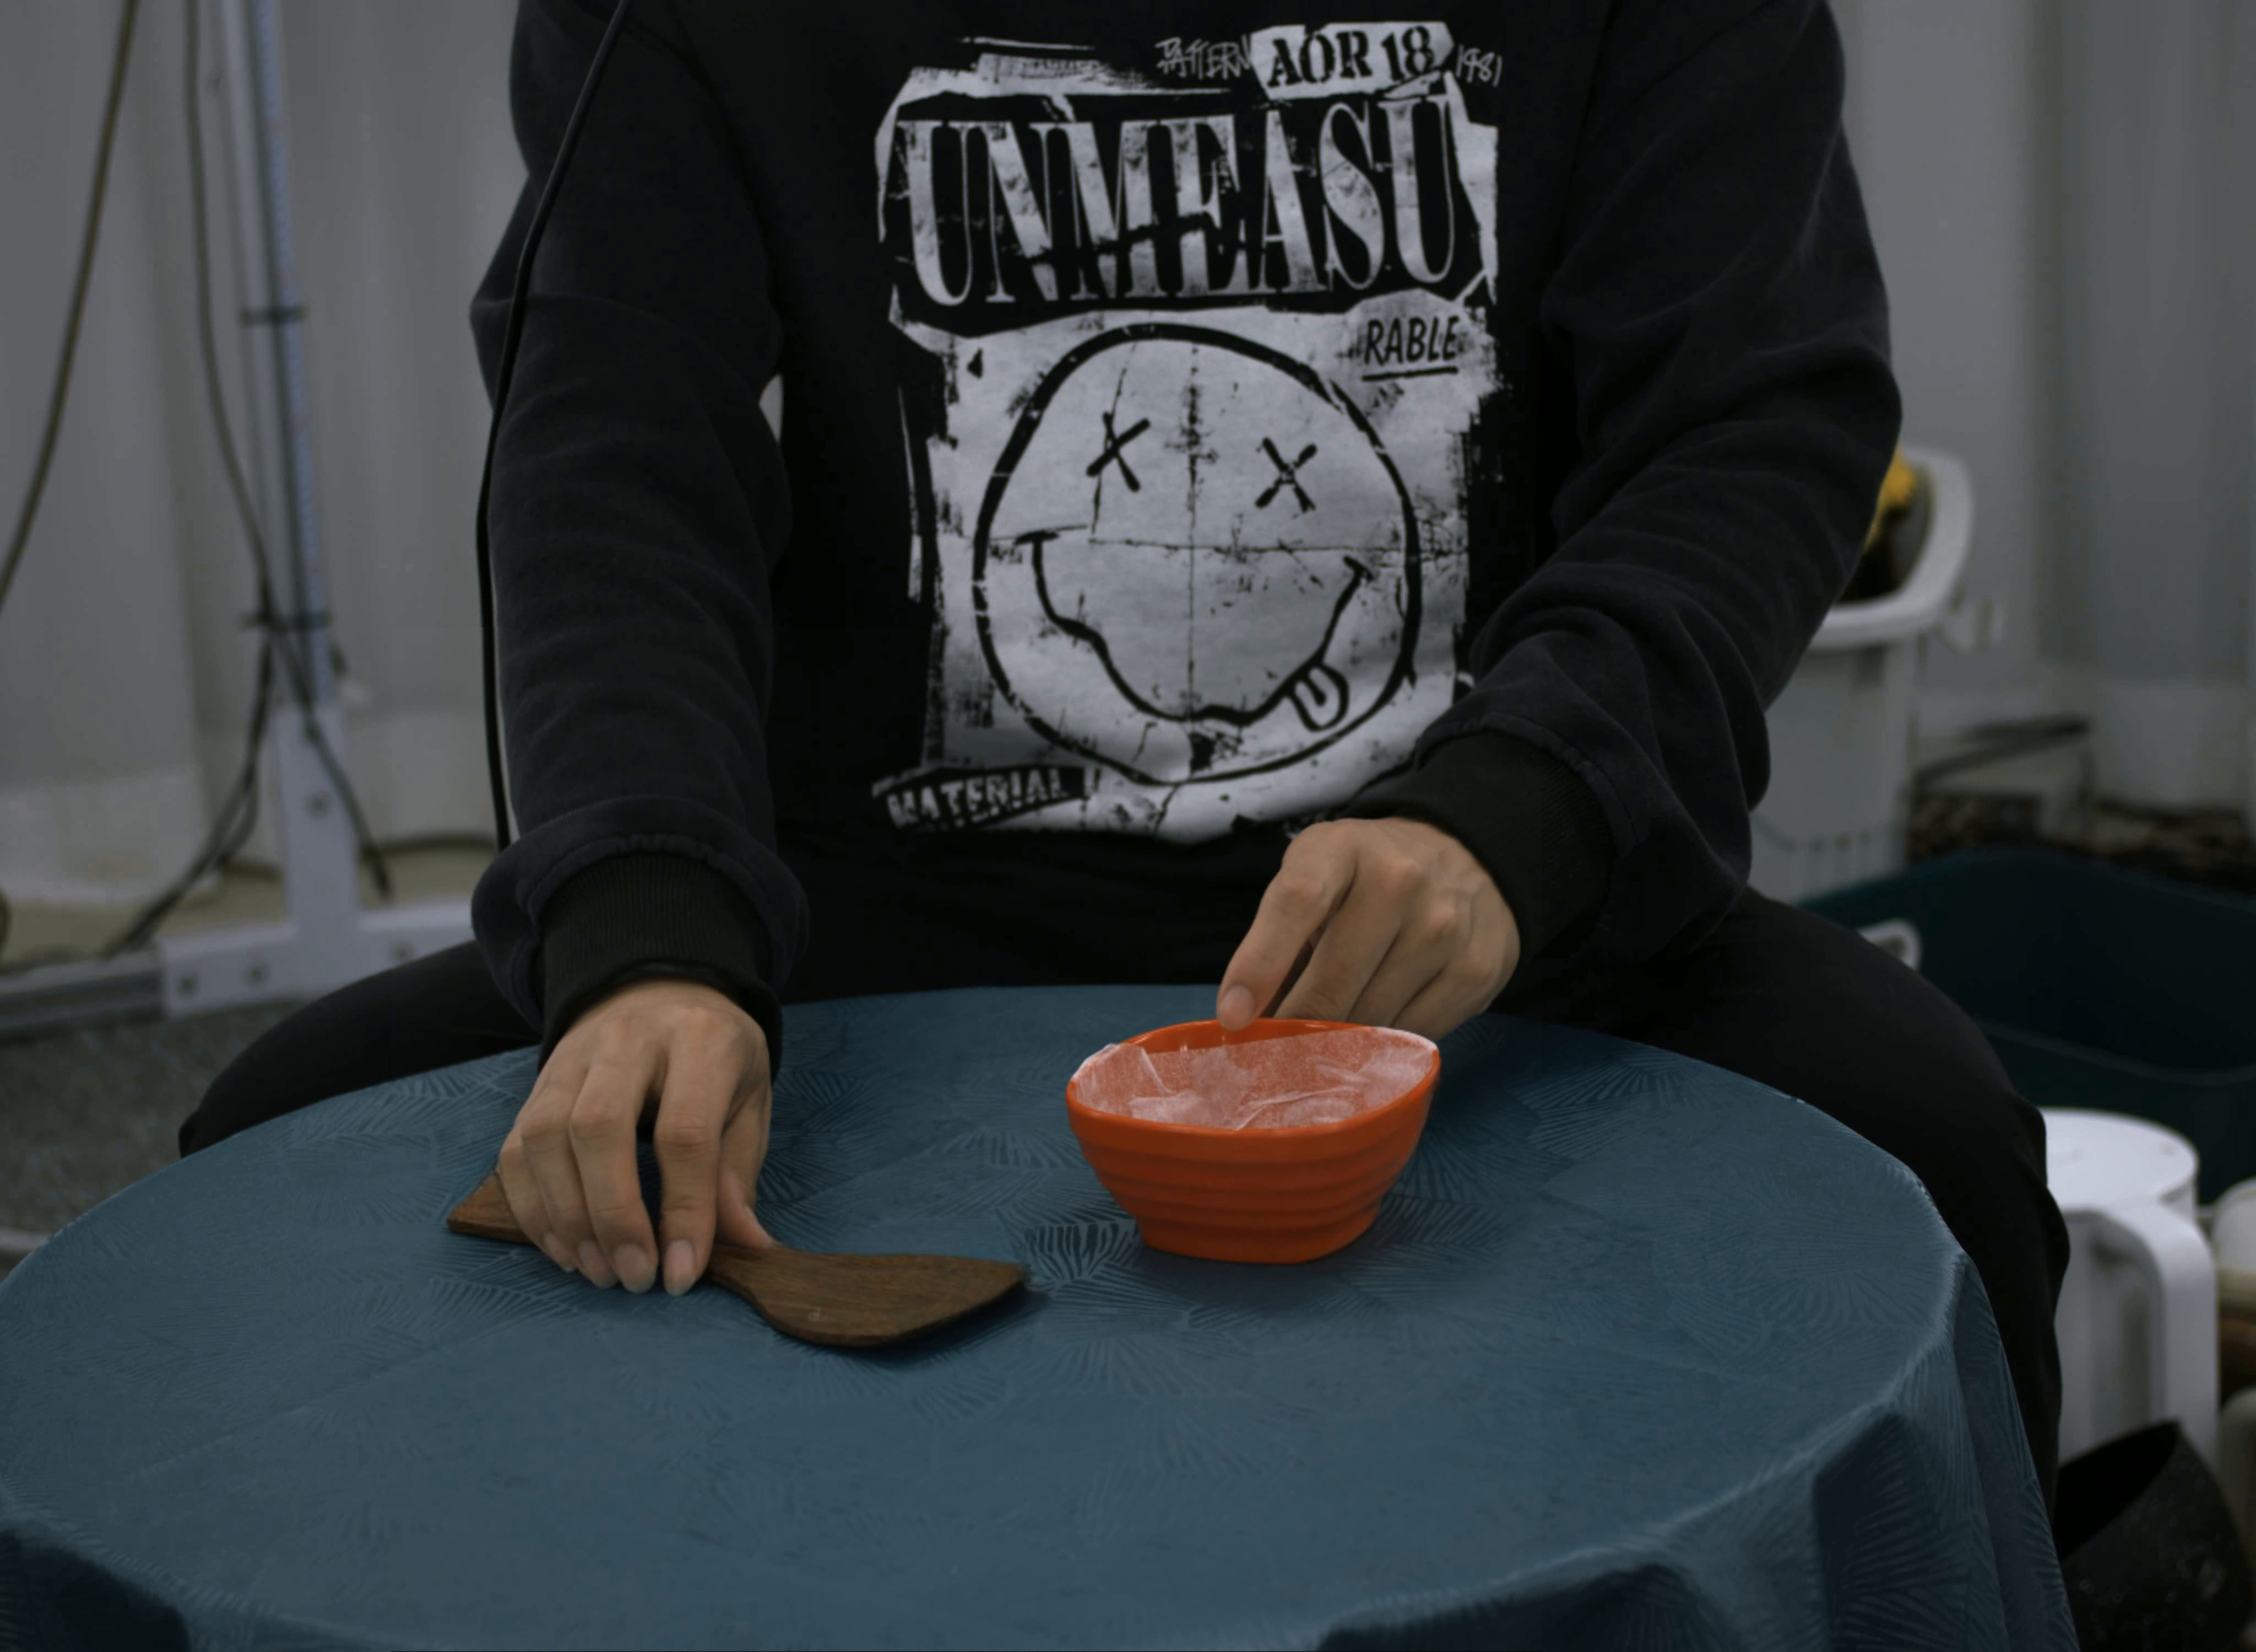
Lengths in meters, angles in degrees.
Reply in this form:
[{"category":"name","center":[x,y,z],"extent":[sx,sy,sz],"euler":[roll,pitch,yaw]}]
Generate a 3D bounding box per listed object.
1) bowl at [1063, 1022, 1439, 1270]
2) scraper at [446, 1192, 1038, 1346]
[{"category":"bowl","center":[0.039,0.100,1.670],"extent":[0.118,0.051,0.120],"euler":[-4,15,1]},{"category":"scraper","center":[-0.125,0.132,1.659],"extent":[0.212,0.011,0.076],"euler":[8,18,37]}]
